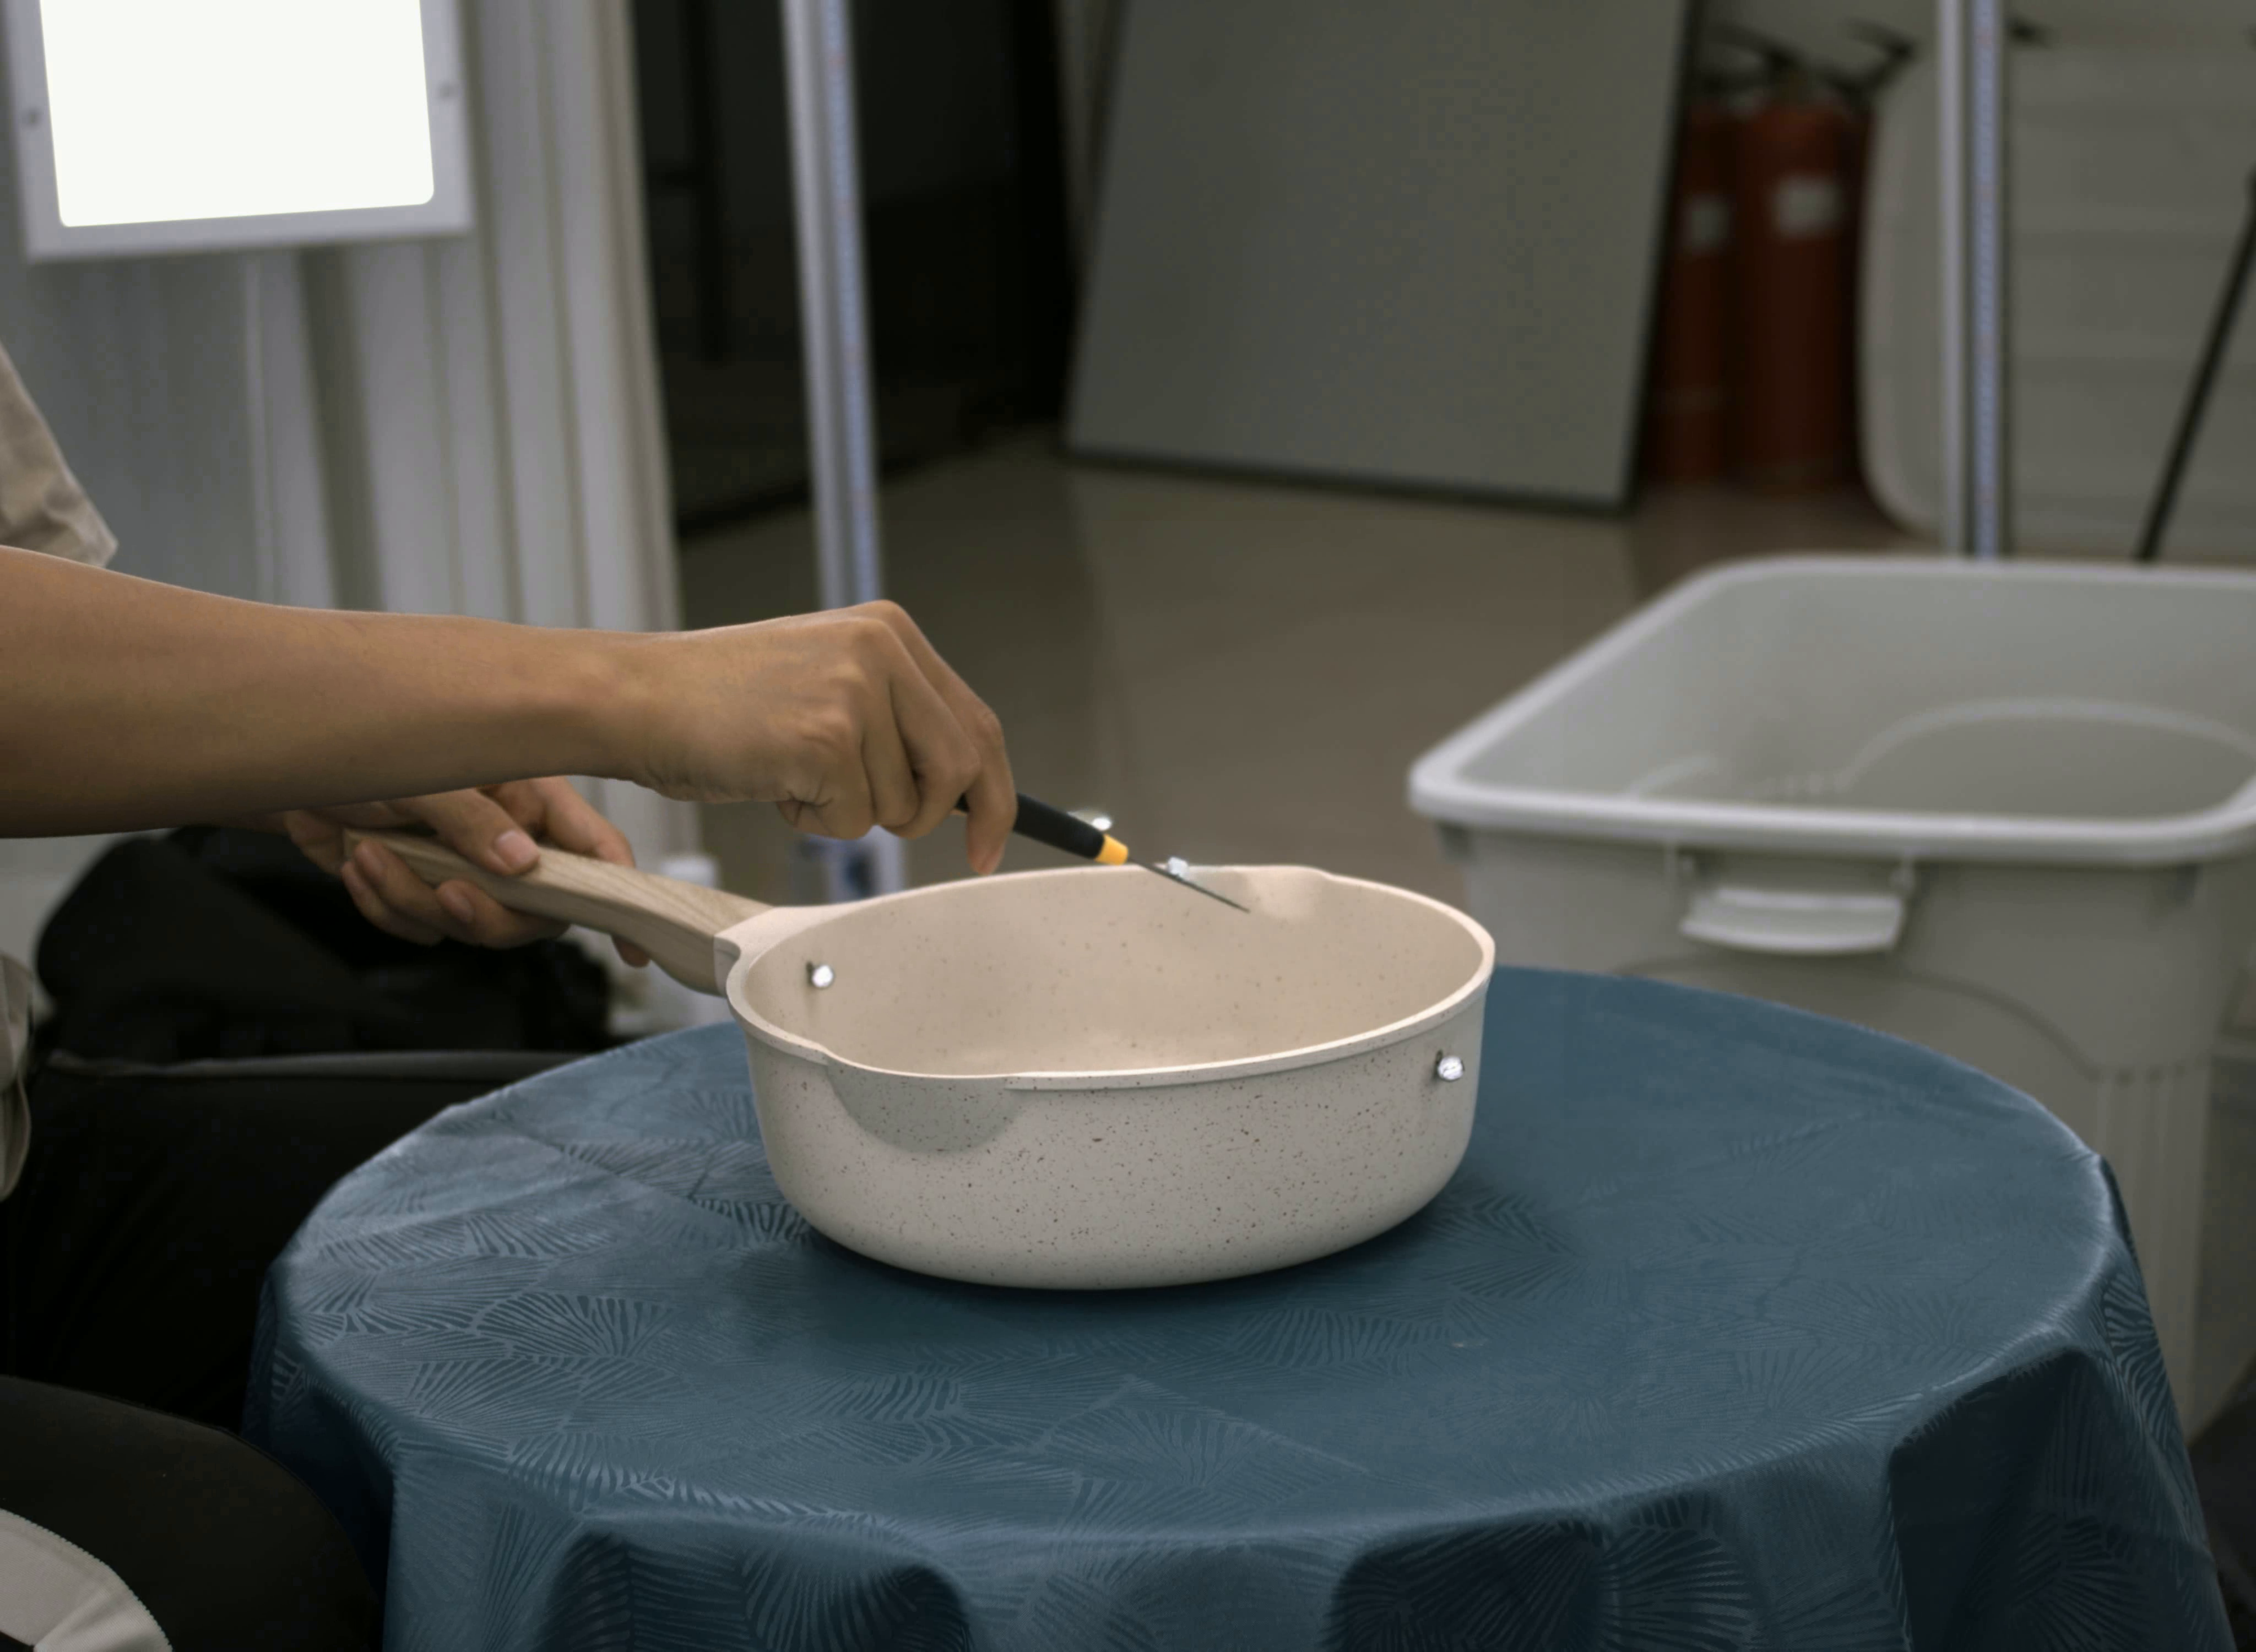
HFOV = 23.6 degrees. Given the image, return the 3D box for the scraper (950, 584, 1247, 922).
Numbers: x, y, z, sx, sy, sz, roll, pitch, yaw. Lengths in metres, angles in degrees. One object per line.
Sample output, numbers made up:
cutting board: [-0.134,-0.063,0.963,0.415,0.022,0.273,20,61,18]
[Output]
scraper: [-0.010,-0.022,1.760,0.015,0.169,0.039,-49,42,-13]

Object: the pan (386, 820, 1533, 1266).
pan: [-0.067,0.061,1.818,0.437,0.103,0.259,4,18,31]
